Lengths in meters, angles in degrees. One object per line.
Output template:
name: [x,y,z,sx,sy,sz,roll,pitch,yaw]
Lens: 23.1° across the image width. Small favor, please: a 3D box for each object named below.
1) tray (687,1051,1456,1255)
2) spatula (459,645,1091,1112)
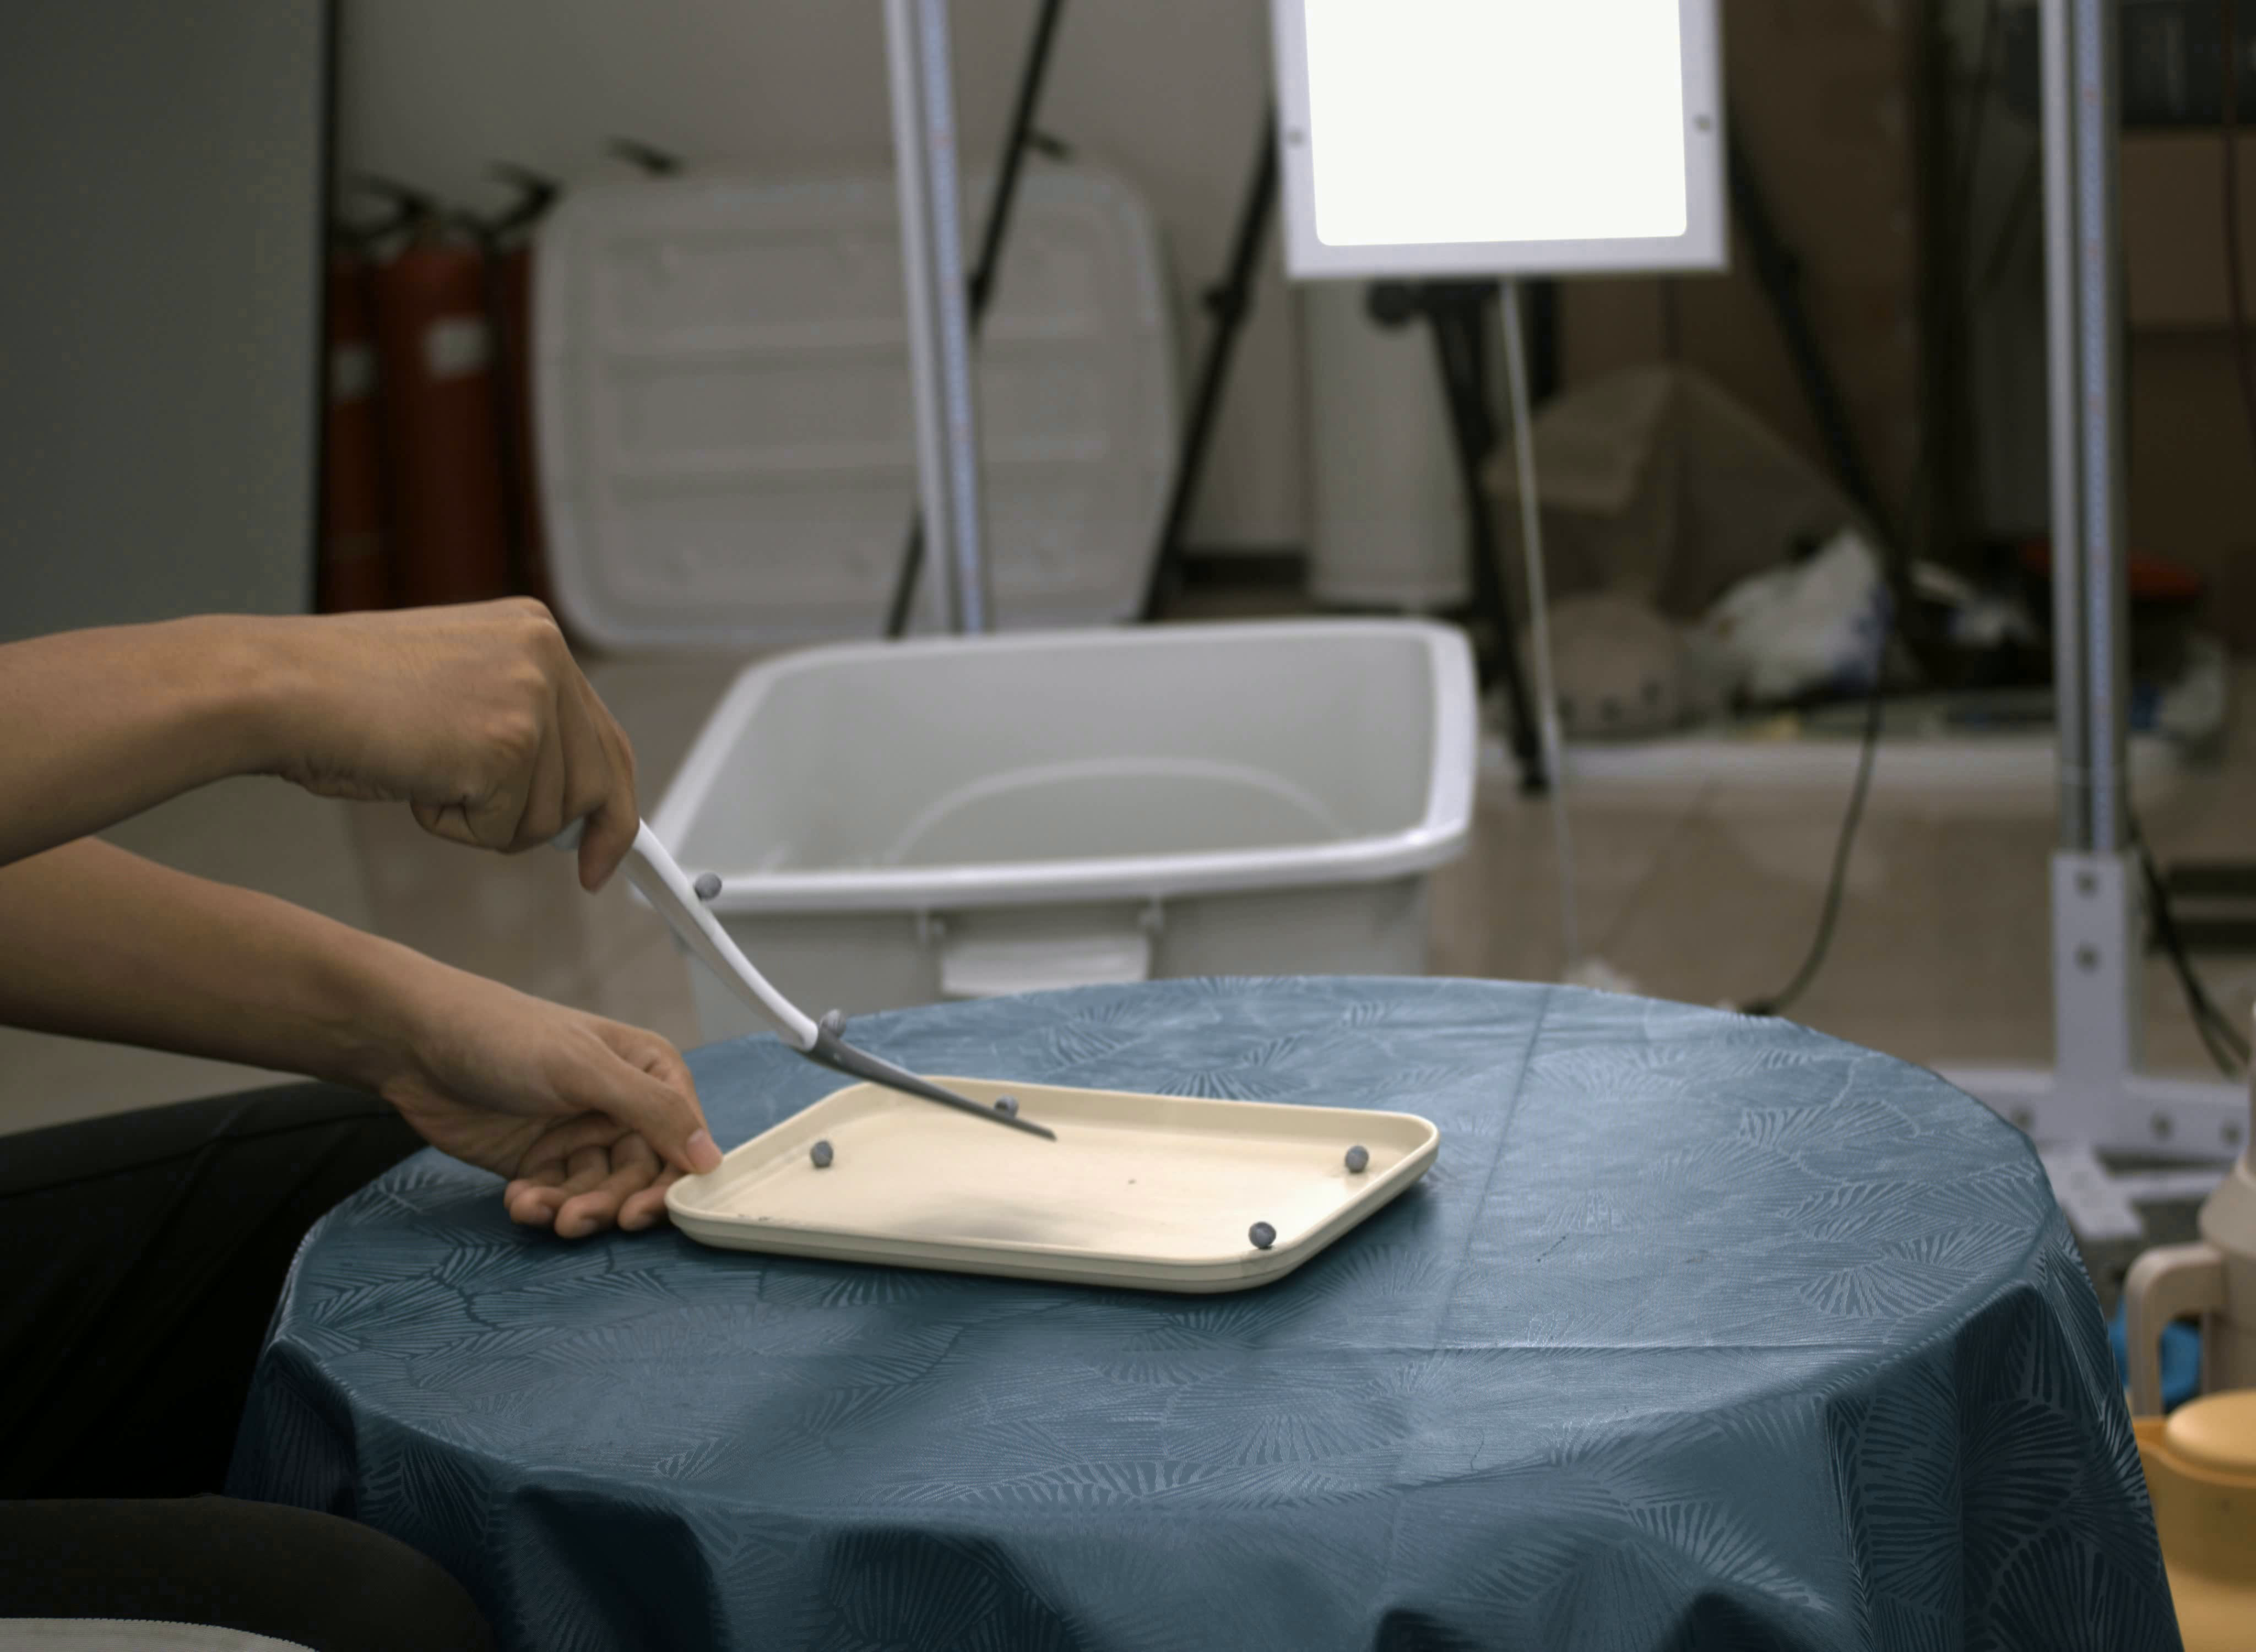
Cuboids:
tray: [-0.018,0.112,1.899,0.244,0.017,0.167,2,14,29]
spatula: [-0.113,0.029,1.781,0.060,0.032,0.283,8,-25,45]
